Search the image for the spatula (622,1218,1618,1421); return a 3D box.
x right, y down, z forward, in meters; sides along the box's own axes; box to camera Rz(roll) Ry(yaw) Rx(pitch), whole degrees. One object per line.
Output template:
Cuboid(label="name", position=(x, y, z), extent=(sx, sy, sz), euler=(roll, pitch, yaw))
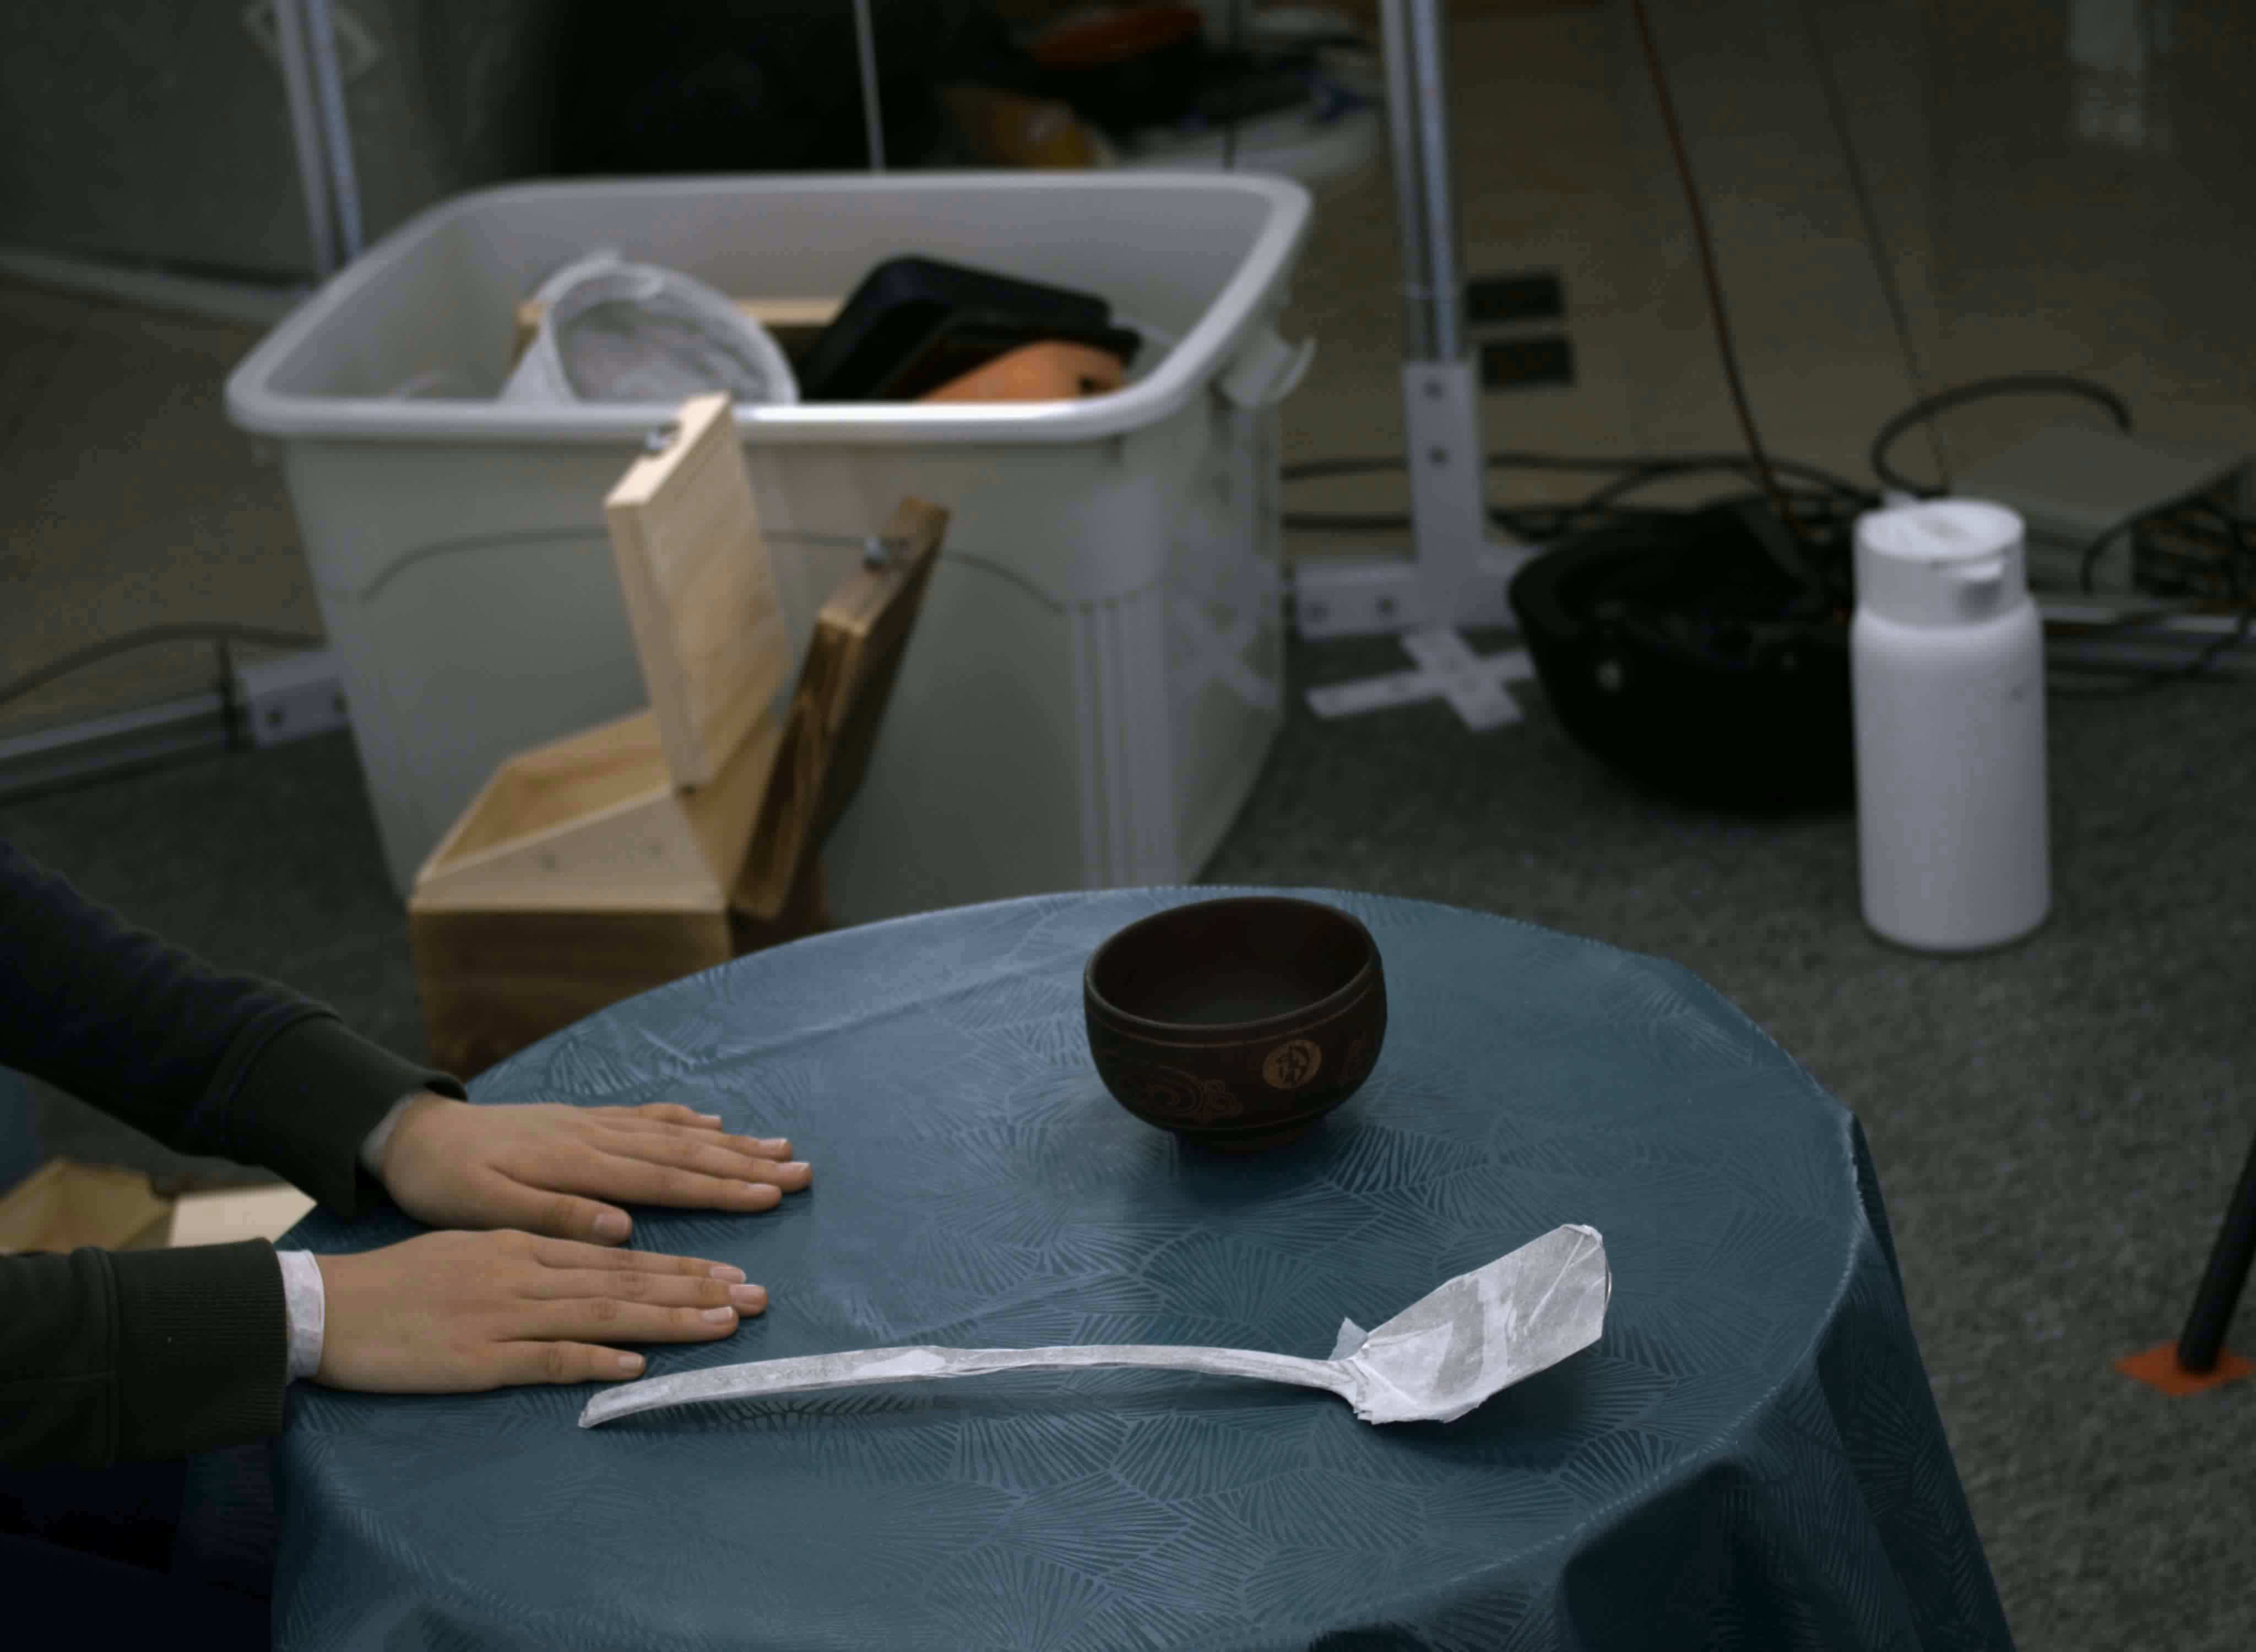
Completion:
Cuboid(label="spatula", position=(-0.008, 0.184, 2.013), extent=(0.364, 0.045, 0.097), euler=(-2, 27, 8))

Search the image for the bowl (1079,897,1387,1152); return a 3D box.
Cuboid(label="bowl", position=(0.042, 0.082, 2.179), extent=(0.118, 0.071, 0.116), euler=(-6, 23, 3))
